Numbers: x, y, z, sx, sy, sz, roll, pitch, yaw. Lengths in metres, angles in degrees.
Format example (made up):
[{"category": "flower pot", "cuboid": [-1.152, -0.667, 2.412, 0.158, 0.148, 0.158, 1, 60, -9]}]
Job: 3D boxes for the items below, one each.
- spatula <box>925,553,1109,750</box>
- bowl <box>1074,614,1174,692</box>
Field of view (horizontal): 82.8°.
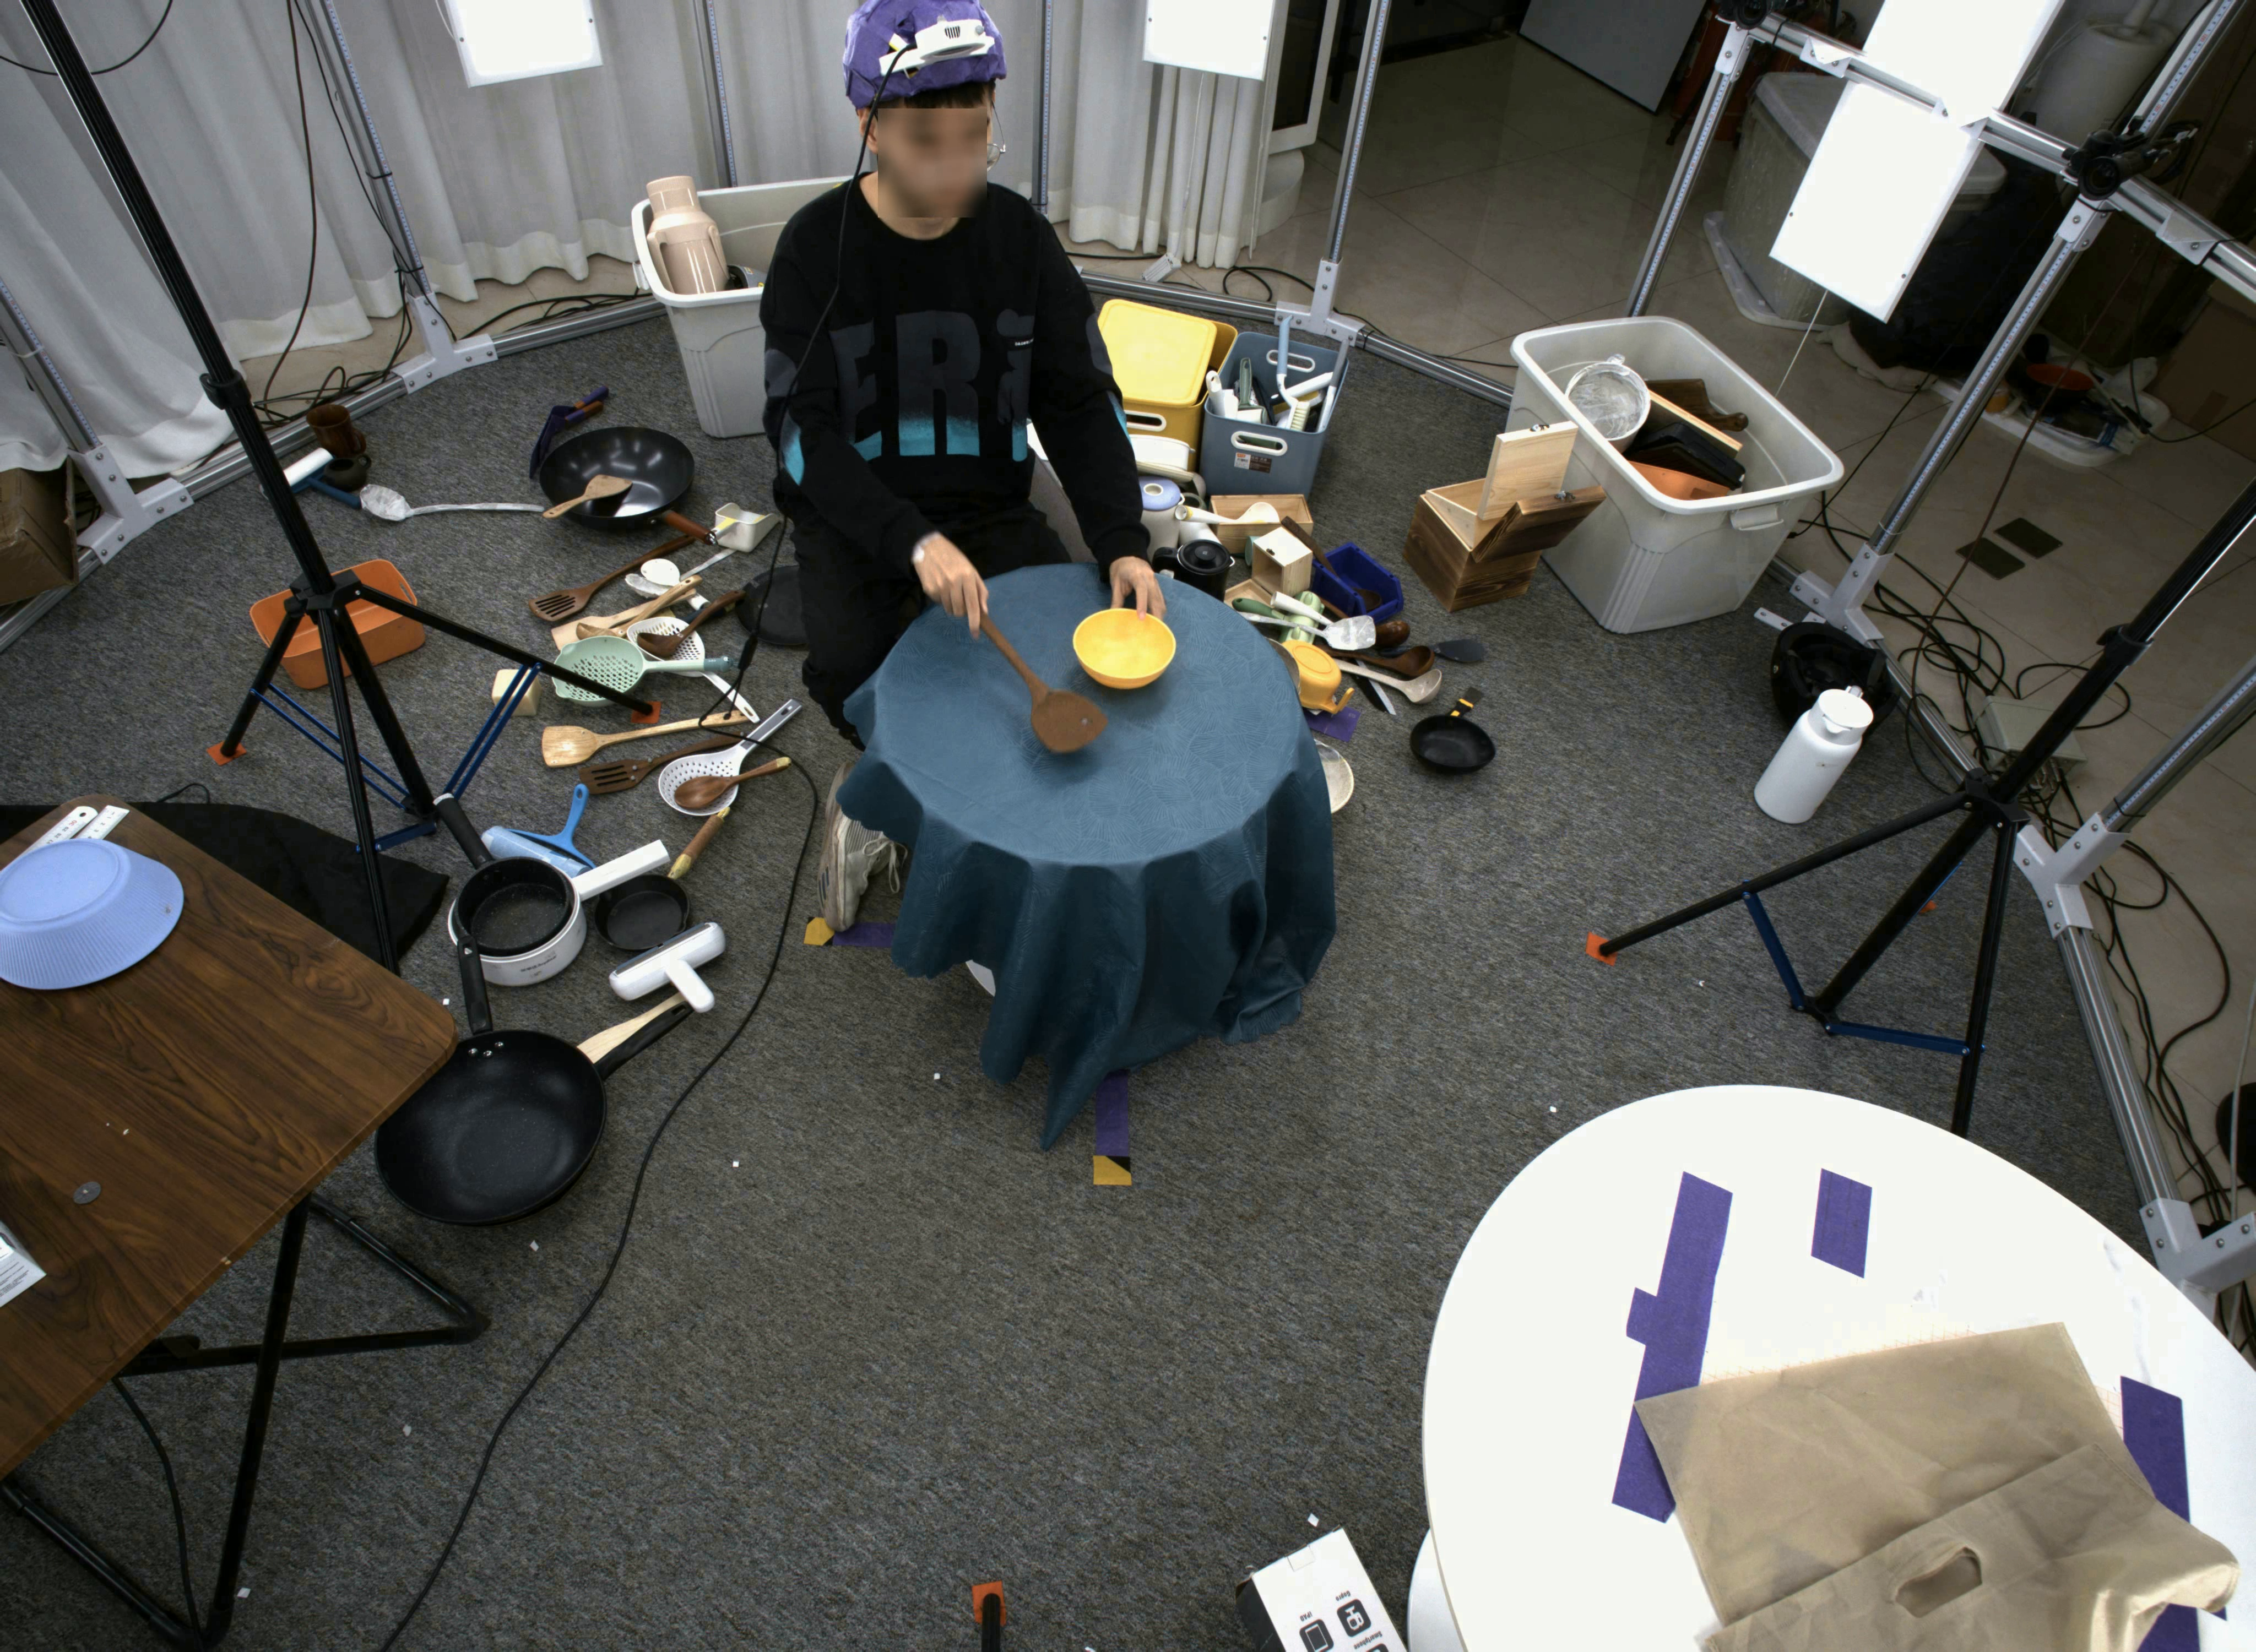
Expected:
[{"category": "spatula", "cuboid": [-0.170, -0.253, 1.789, 0.096, 0.015, 0.391, -31, 68, -21]}, {"category": "bowl", "cuboid": [-0.008, -0.239, 1.857, 0.145, 0.058, 0.149, 3, 47, -4]}]
